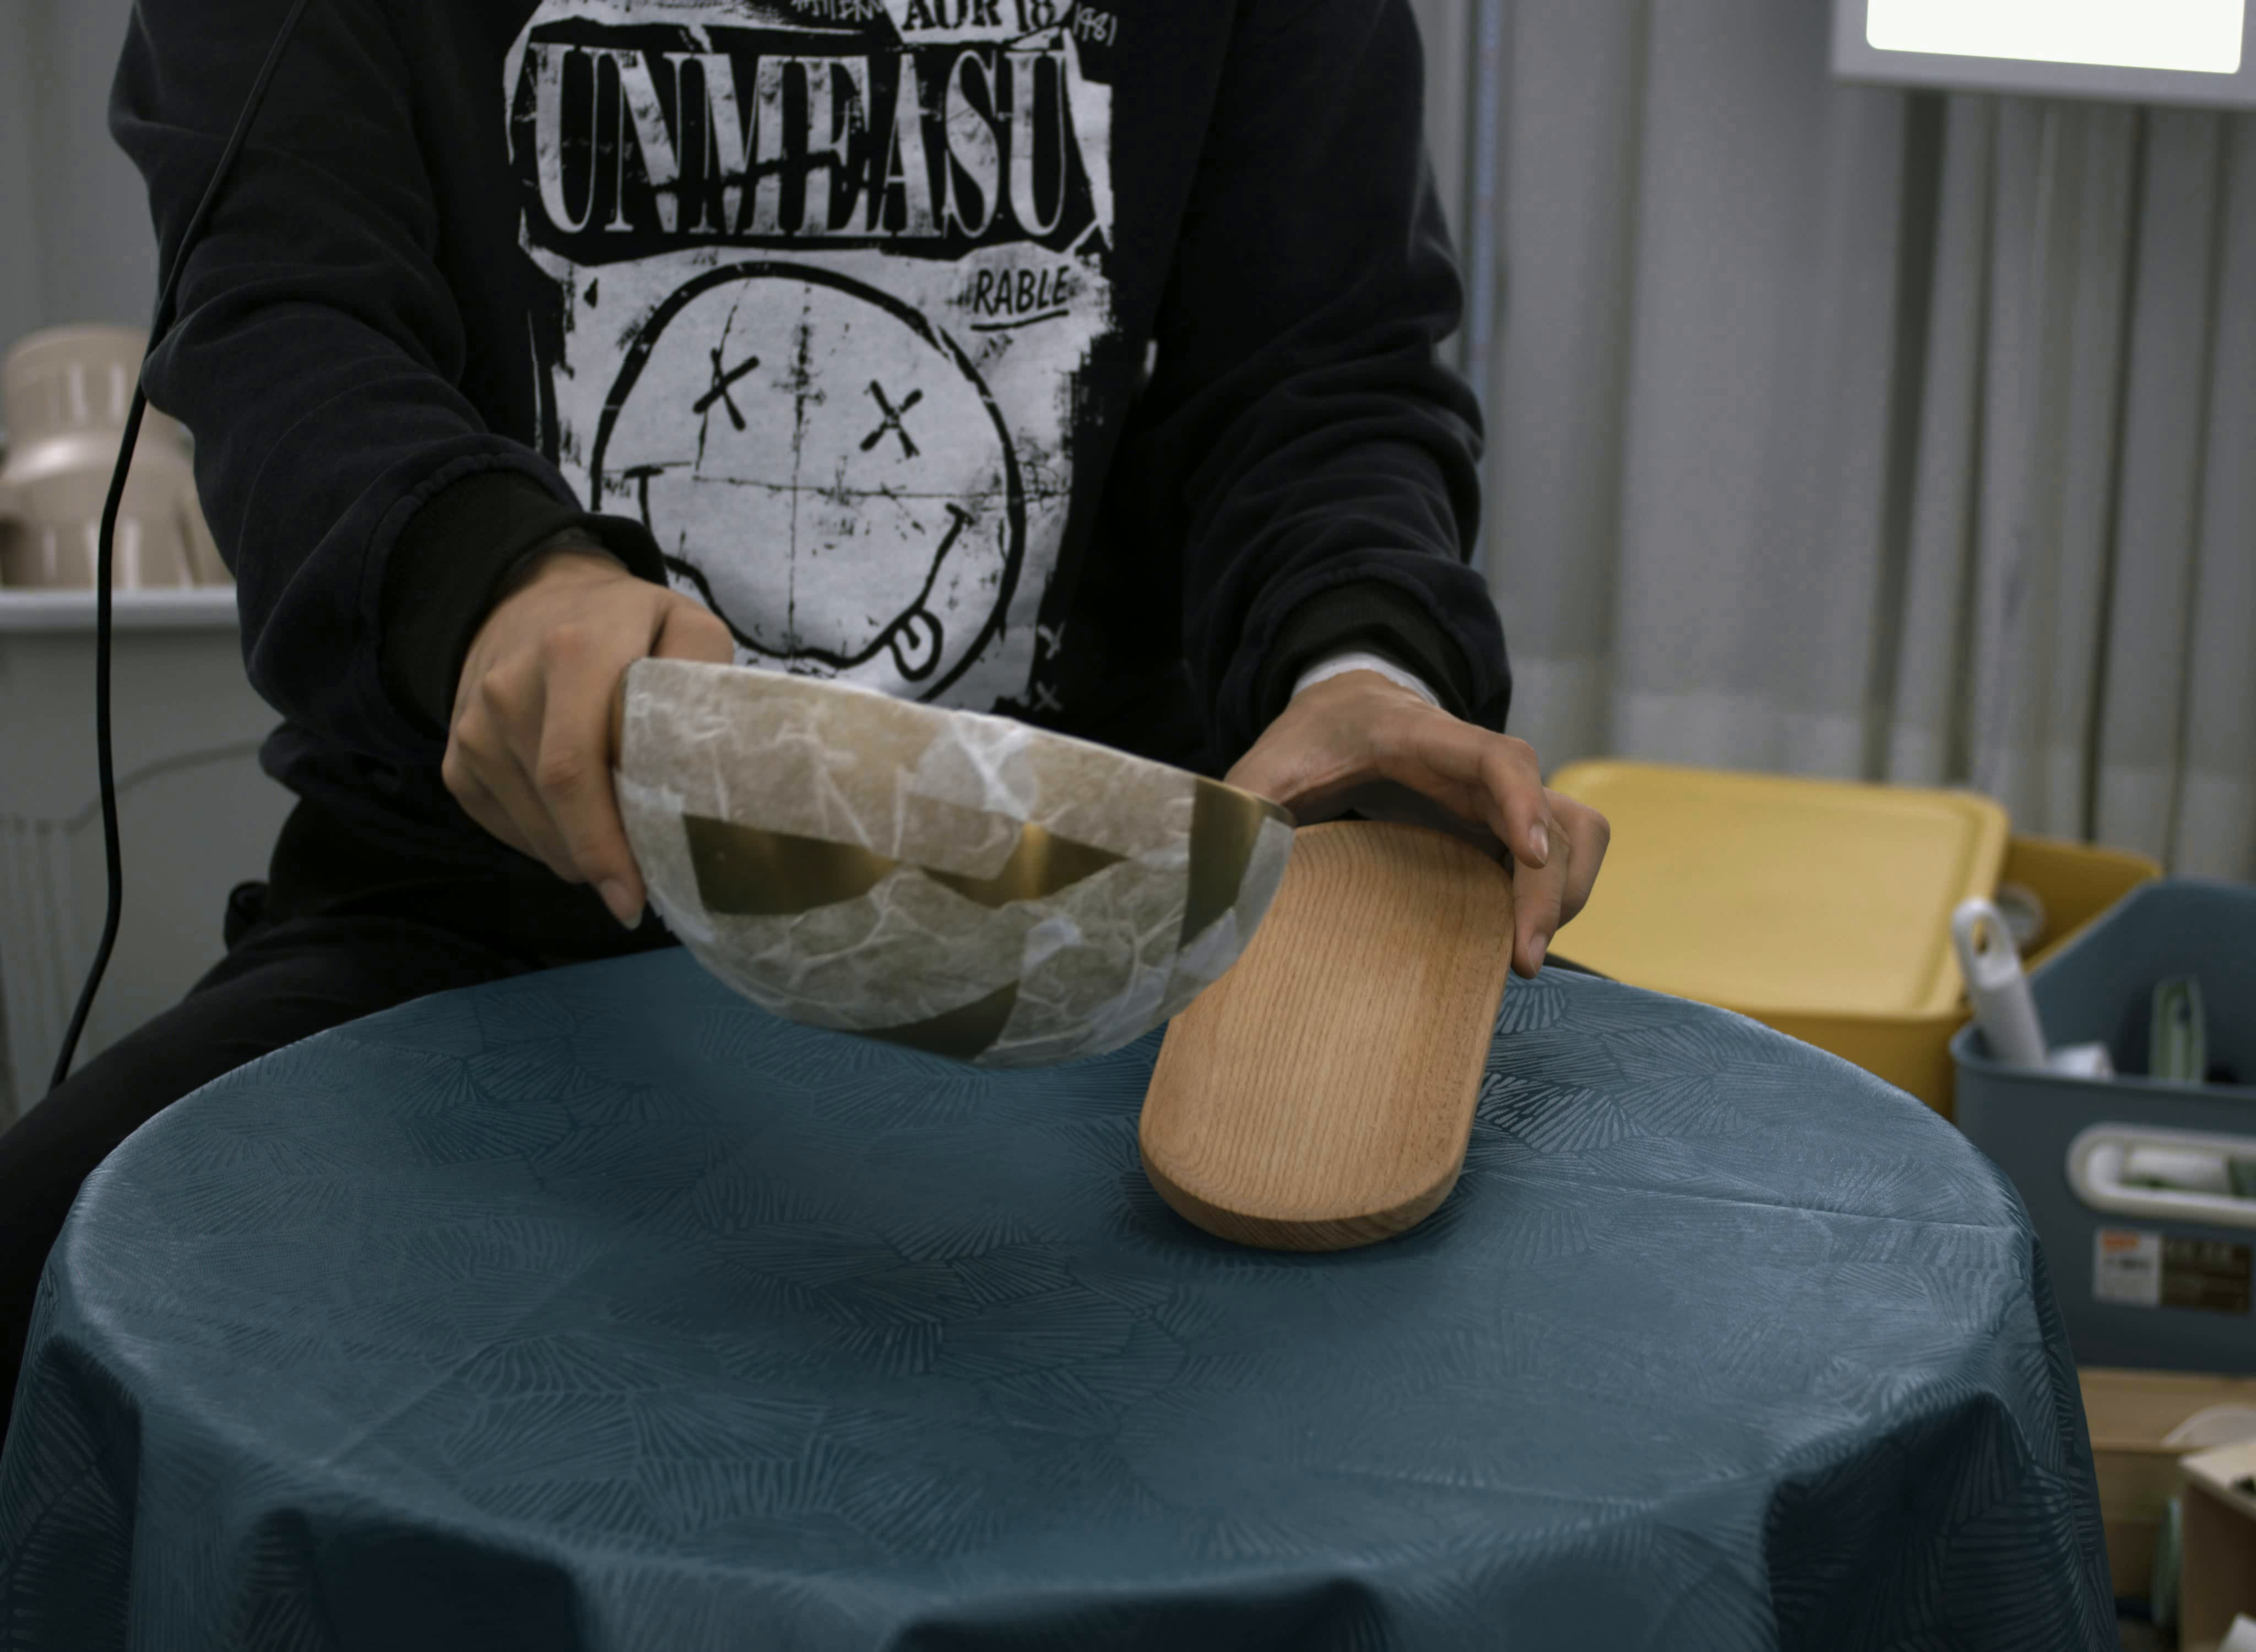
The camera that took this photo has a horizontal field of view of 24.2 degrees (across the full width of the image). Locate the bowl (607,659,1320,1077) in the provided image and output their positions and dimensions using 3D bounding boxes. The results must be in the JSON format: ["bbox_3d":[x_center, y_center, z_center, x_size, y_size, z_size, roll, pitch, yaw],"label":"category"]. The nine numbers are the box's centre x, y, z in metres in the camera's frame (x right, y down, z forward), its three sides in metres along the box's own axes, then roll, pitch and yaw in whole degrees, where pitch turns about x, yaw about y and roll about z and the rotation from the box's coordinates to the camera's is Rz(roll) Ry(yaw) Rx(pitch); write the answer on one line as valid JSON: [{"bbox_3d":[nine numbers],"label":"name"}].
[{"bbox_3d":[-0.055,0.020,1.506,0.214,0.095,0.215,12,-4,1],"label":"bowl"}]

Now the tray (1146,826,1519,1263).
[{"bbox_3d":[0.066,0.066,1.661,0.101,0.020,0.230,4,33,8],"label":"tray"}]
